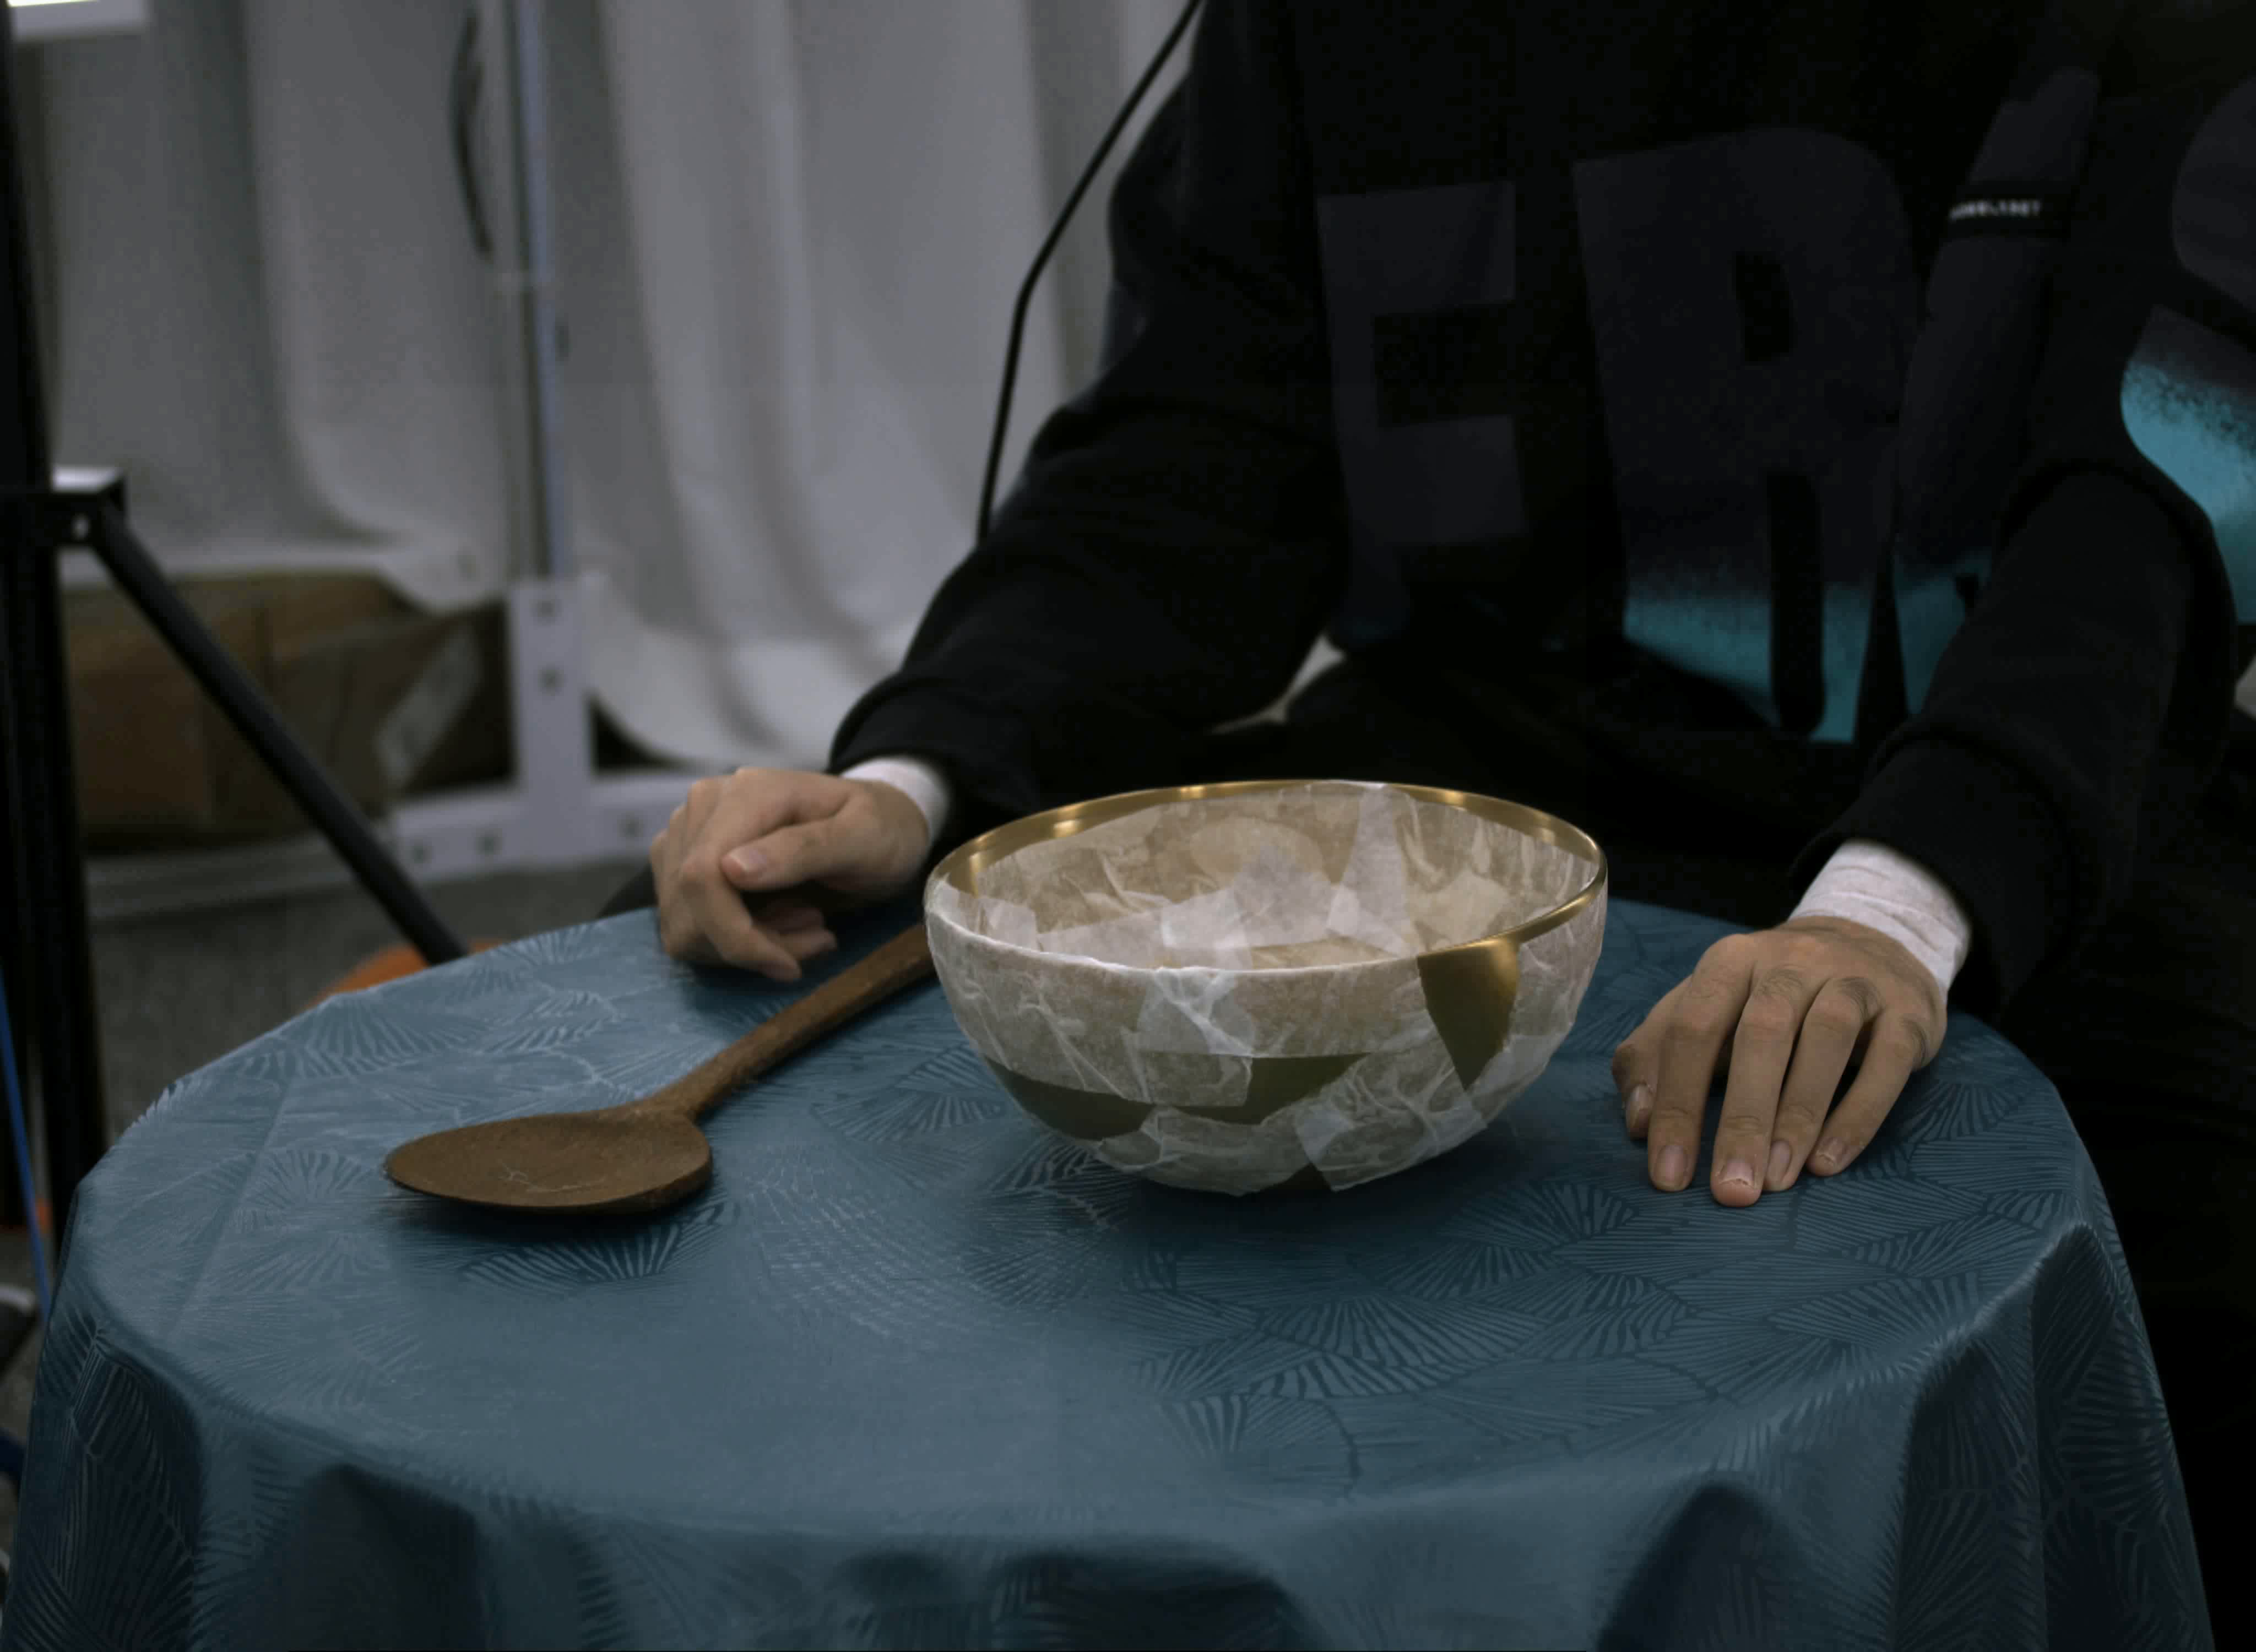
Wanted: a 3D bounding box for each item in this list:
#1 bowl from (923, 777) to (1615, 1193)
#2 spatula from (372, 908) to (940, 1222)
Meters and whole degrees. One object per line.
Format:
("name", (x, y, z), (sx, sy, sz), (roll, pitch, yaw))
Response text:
("bowl", (0.045, 0.054, 1.568), (0.213, 0.094, 0.216), (-4, 14, 0))
("spatula", (-0.106, 0.064, 1.707), (0.097, 0.016, 0.380), (6, 18, 26))
